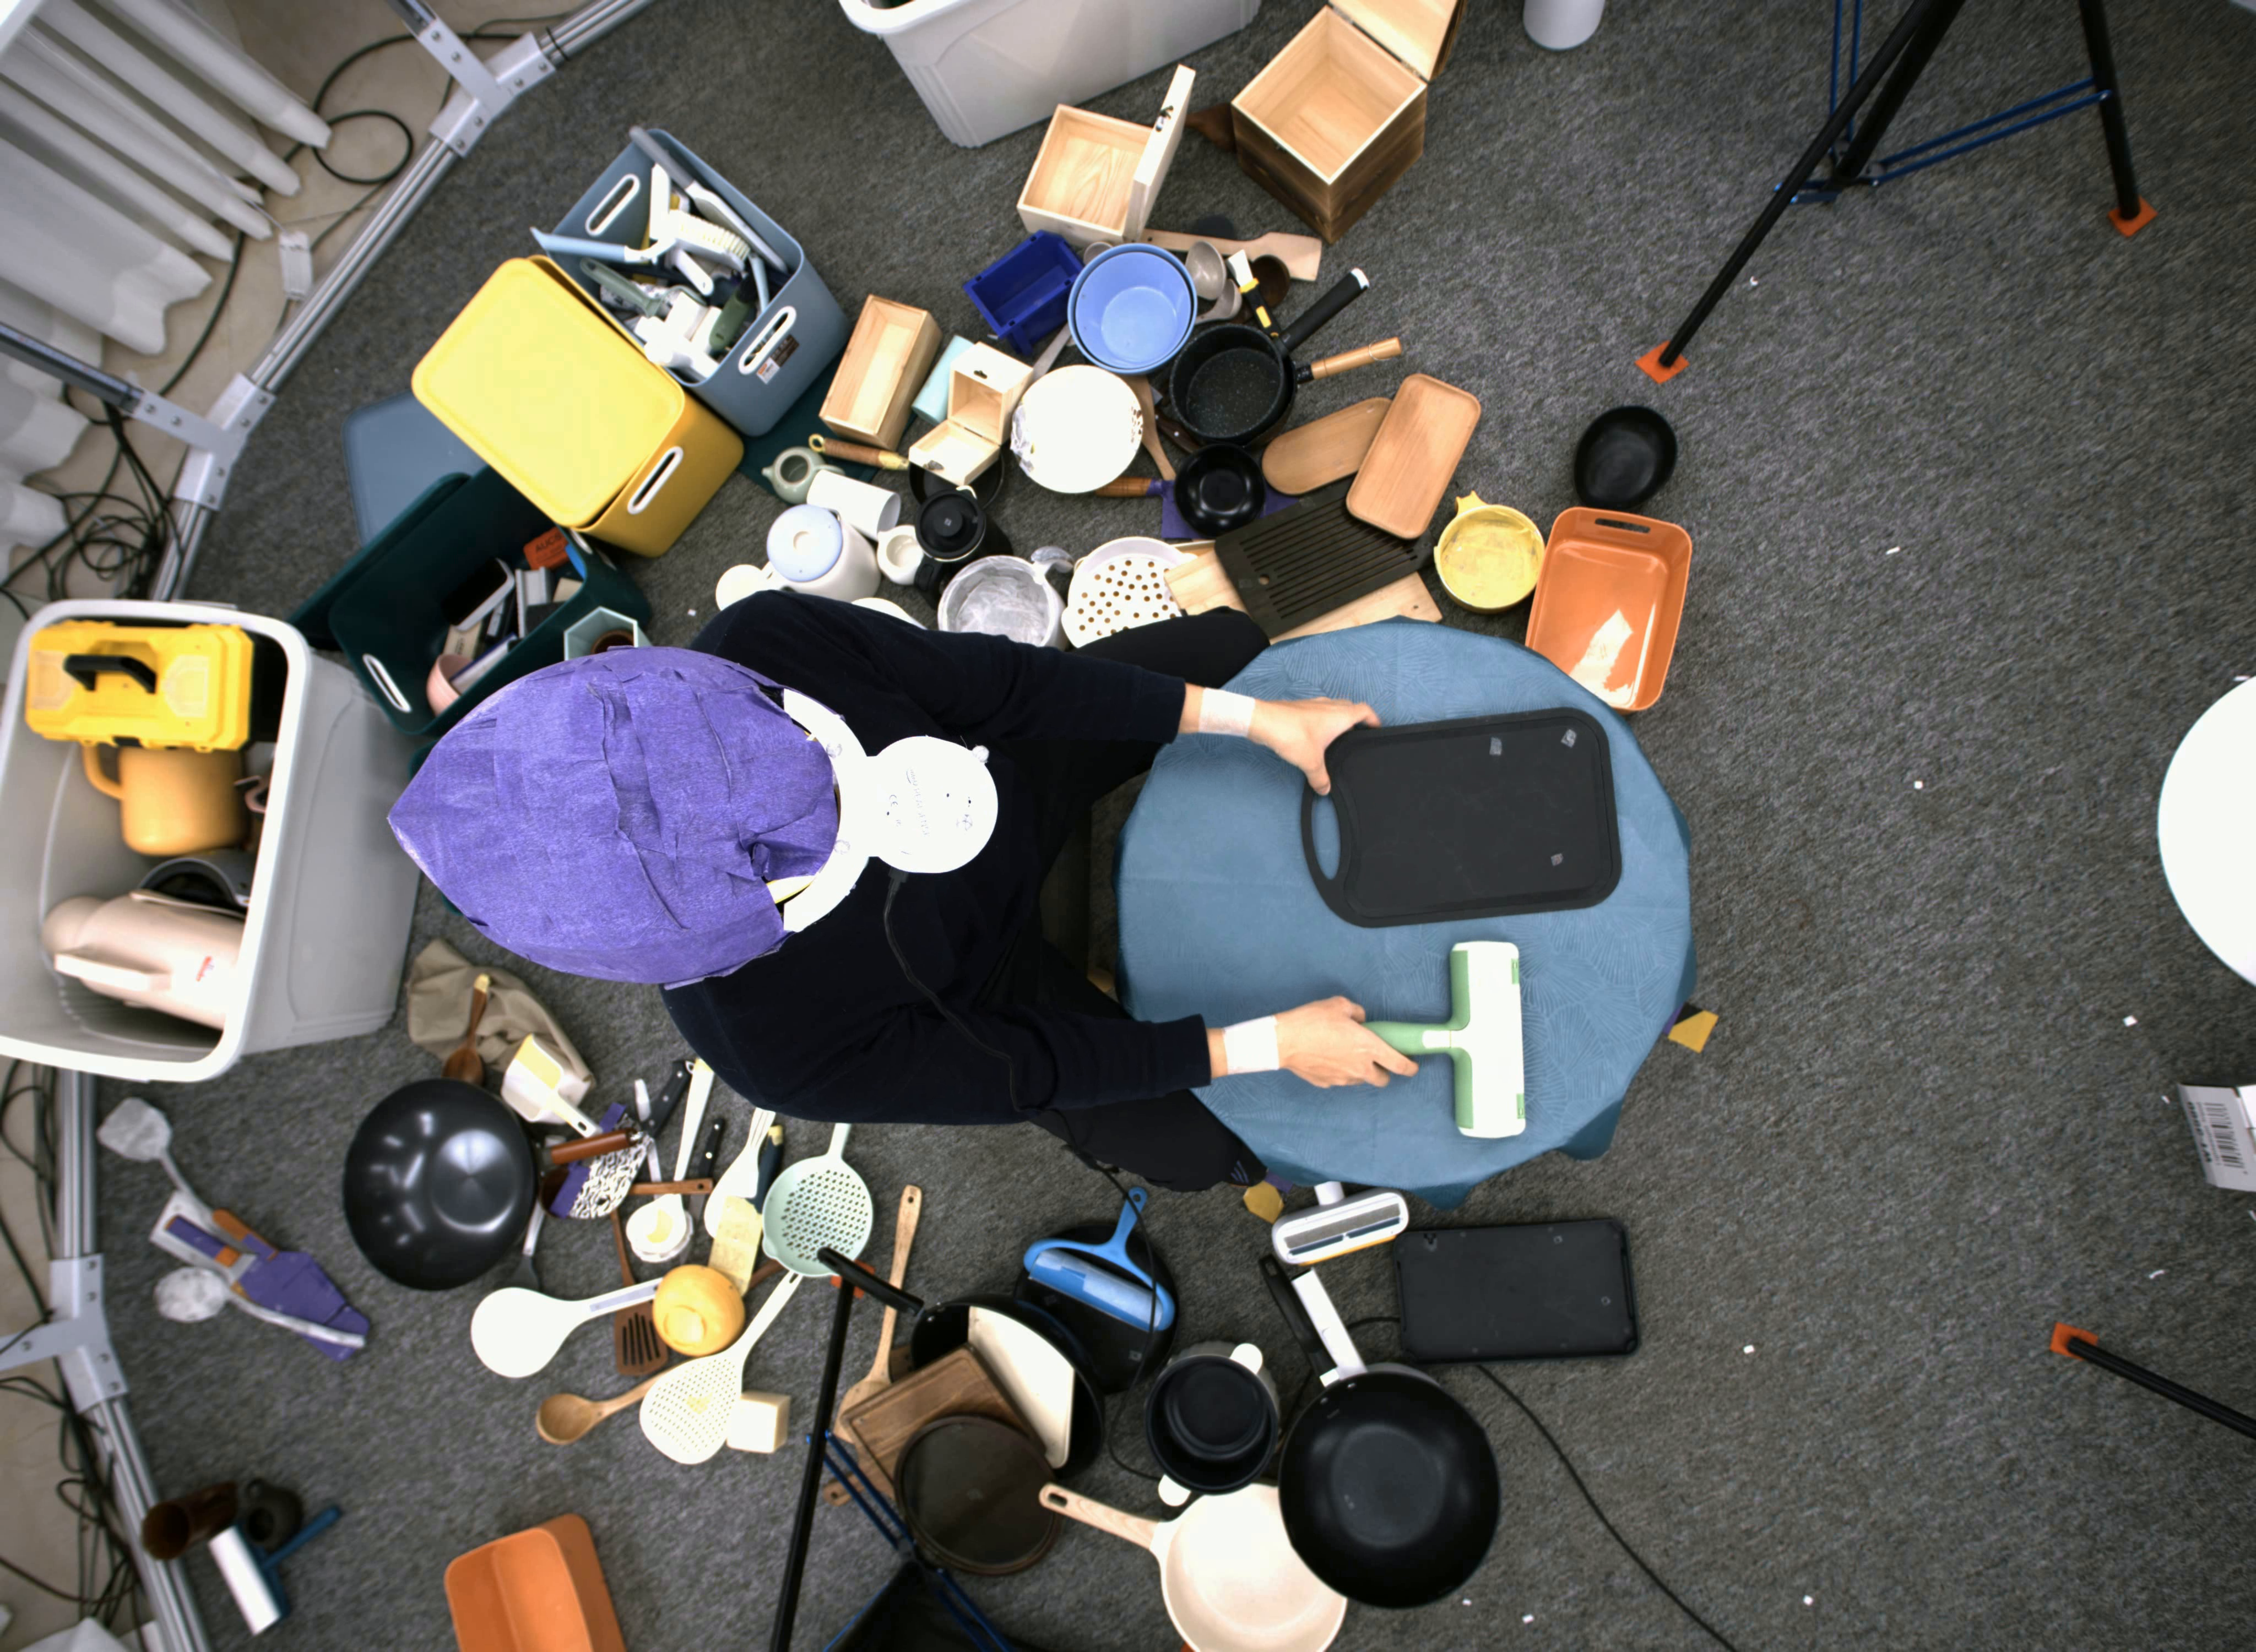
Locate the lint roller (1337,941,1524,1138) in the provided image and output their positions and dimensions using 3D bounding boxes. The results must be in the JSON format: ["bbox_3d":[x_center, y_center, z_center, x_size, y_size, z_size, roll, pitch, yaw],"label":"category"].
[{"bbox_3d":[0.308,0.214,1.391,0.183,0.083,0.197,-1,86,-10],"label":"lint roller"}]

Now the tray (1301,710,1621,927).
[{"bbox_3d":[0.344,-0.008,1.438,0.327,0.010,0.211,-5,91,10],"label":"tray"}]
